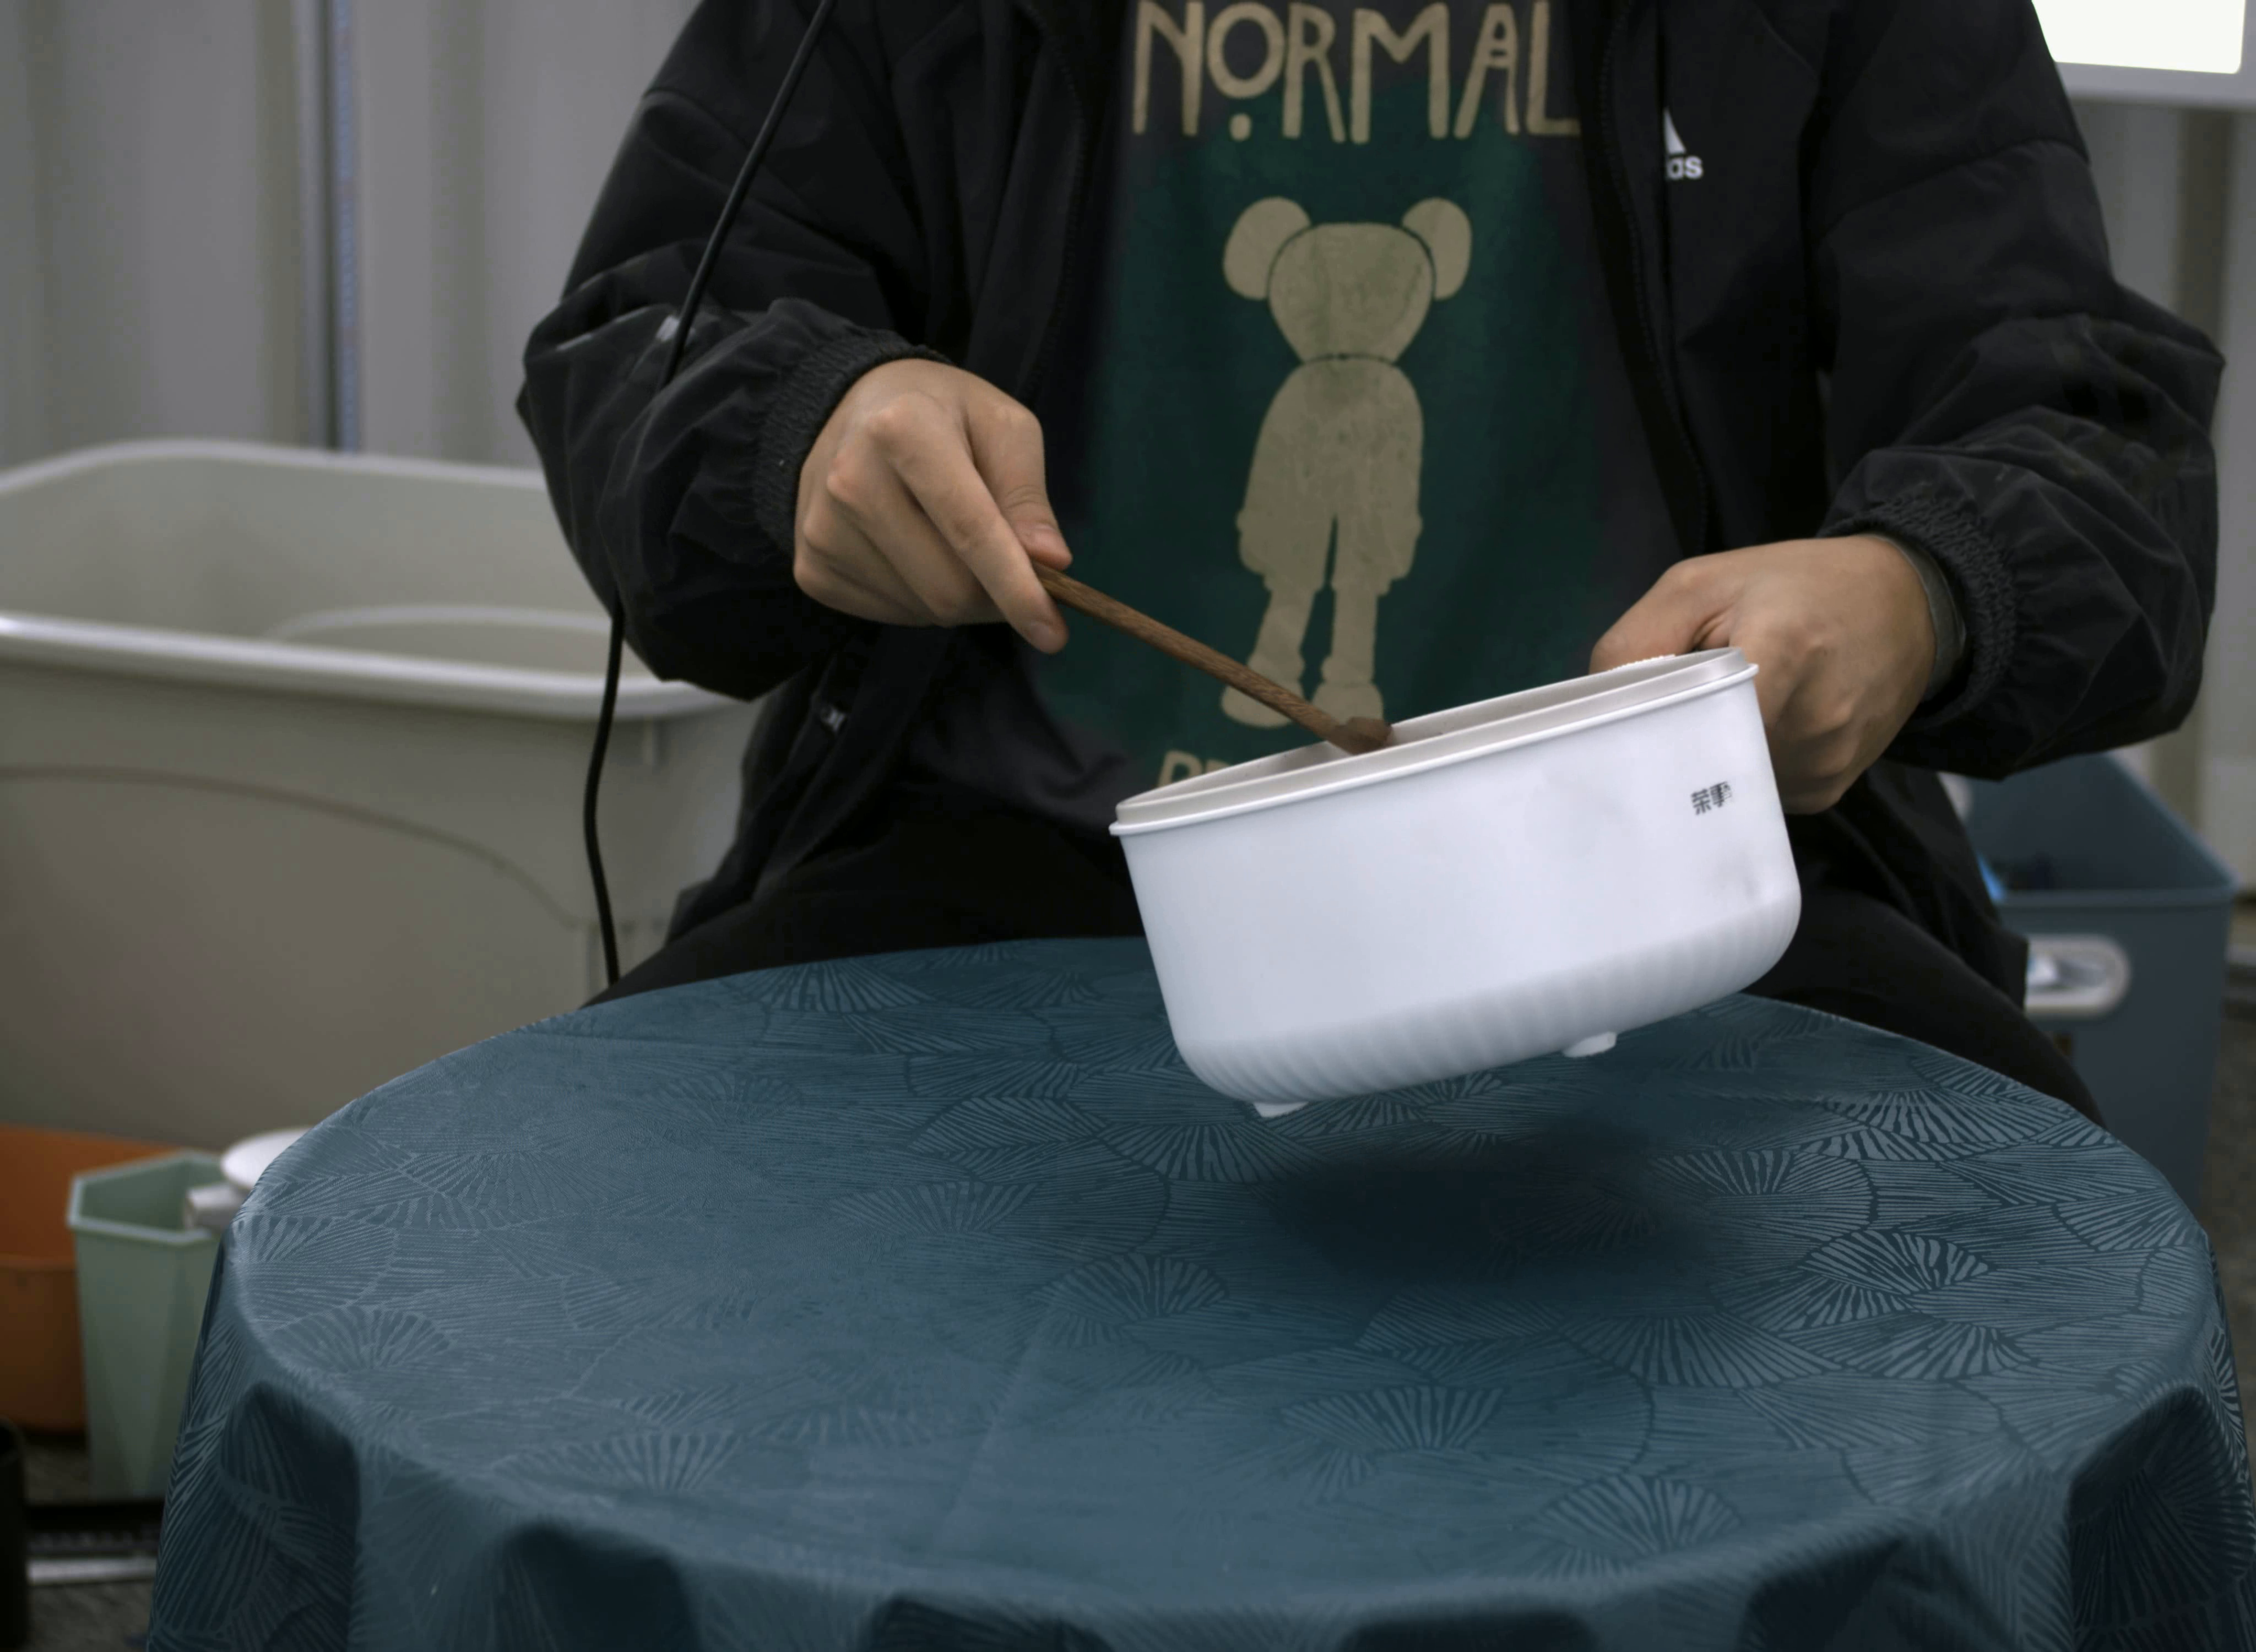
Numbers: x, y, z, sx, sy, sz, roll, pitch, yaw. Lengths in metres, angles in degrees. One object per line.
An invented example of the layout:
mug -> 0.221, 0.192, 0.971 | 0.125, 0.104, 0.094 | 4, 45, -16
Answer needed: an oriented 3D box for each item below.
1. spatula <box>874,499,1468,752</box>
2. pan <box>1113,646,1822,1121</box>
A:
spatula -> 0.024, -0.054, 1.706 | 0.097, 0.016, 0.380 | 33, -4, -40
pan -> 0.140, 0.010, 1.650 | 0.199, 0.102, 0.356 | -14, 1, 29
